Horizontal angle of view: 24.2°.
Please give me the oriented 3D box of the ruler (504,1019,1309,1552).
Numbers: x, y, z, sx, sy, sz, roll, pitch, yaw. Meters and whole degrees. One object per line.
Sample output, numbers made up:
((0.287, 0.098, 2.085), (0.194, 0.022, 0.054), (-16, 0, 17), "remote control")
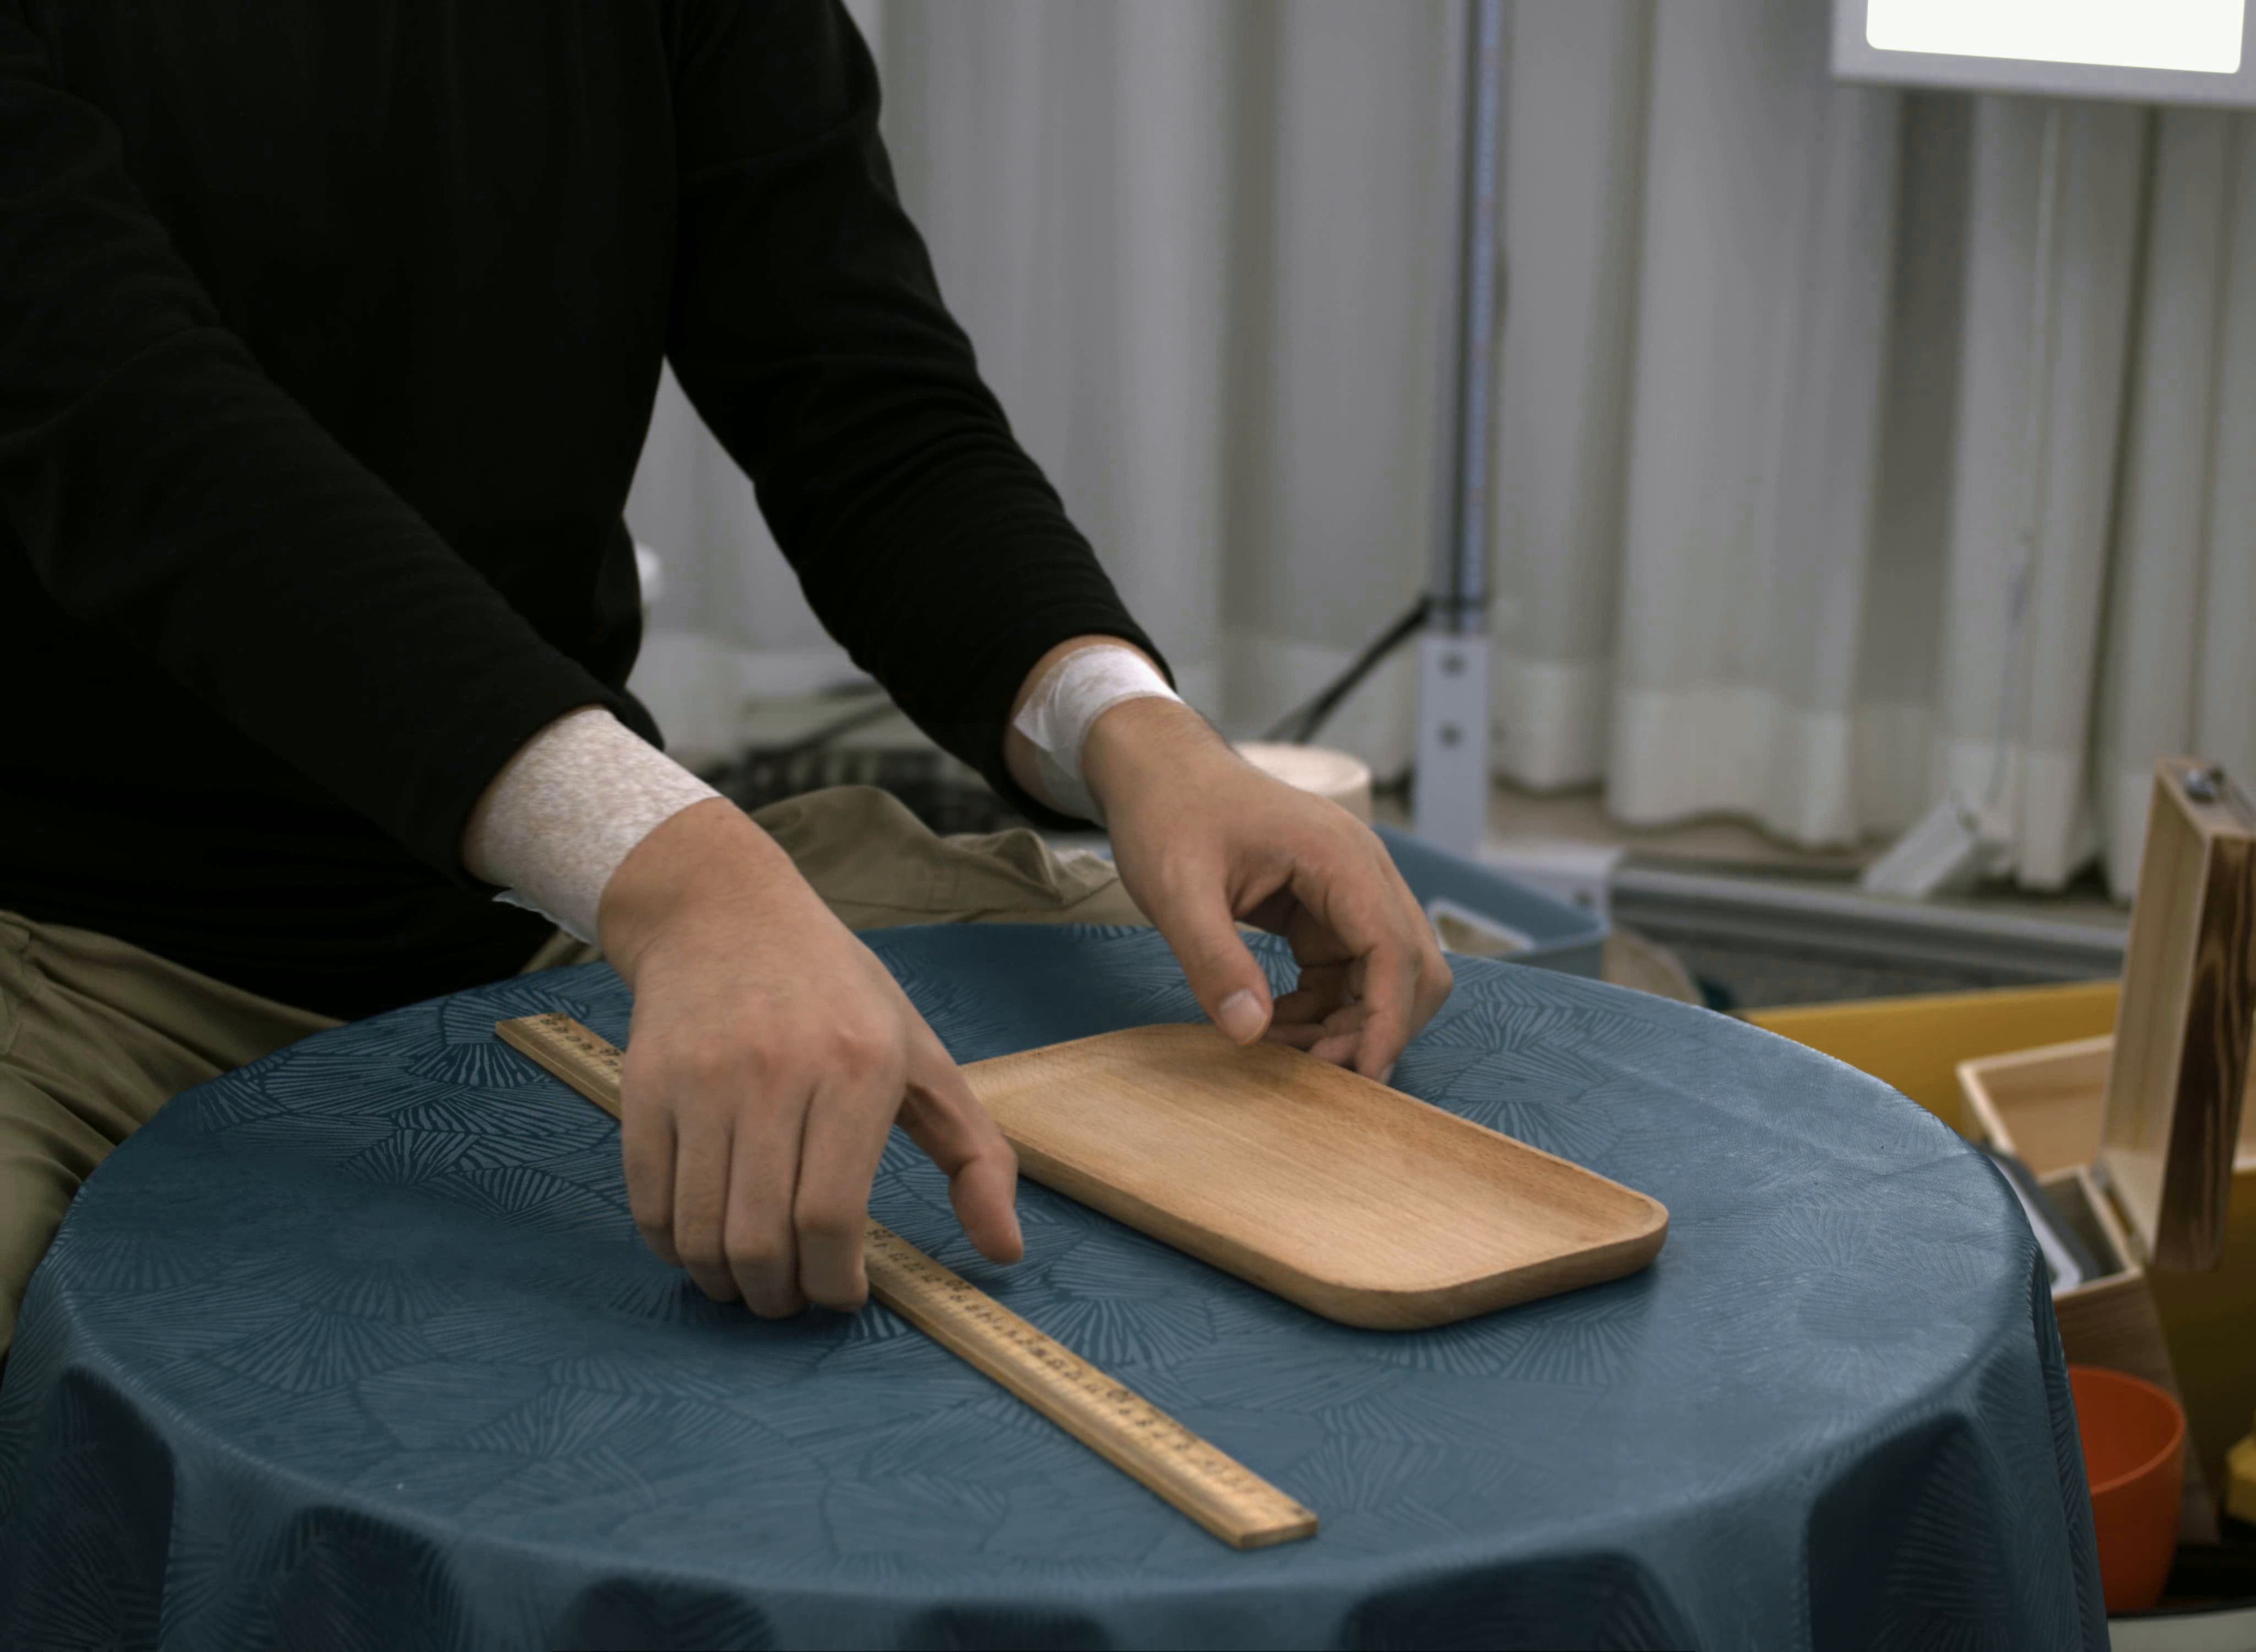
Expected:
((-0.080, 0.125, 1.563), (0.027, 0.006, 0.494), (-5, 16, -28), "ruler")

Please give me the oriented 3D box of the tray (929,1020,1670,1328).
((0.049, 0.104, 1.620), (0.131, 0.023, 0.247), (-8, 16, -34), "tray")
